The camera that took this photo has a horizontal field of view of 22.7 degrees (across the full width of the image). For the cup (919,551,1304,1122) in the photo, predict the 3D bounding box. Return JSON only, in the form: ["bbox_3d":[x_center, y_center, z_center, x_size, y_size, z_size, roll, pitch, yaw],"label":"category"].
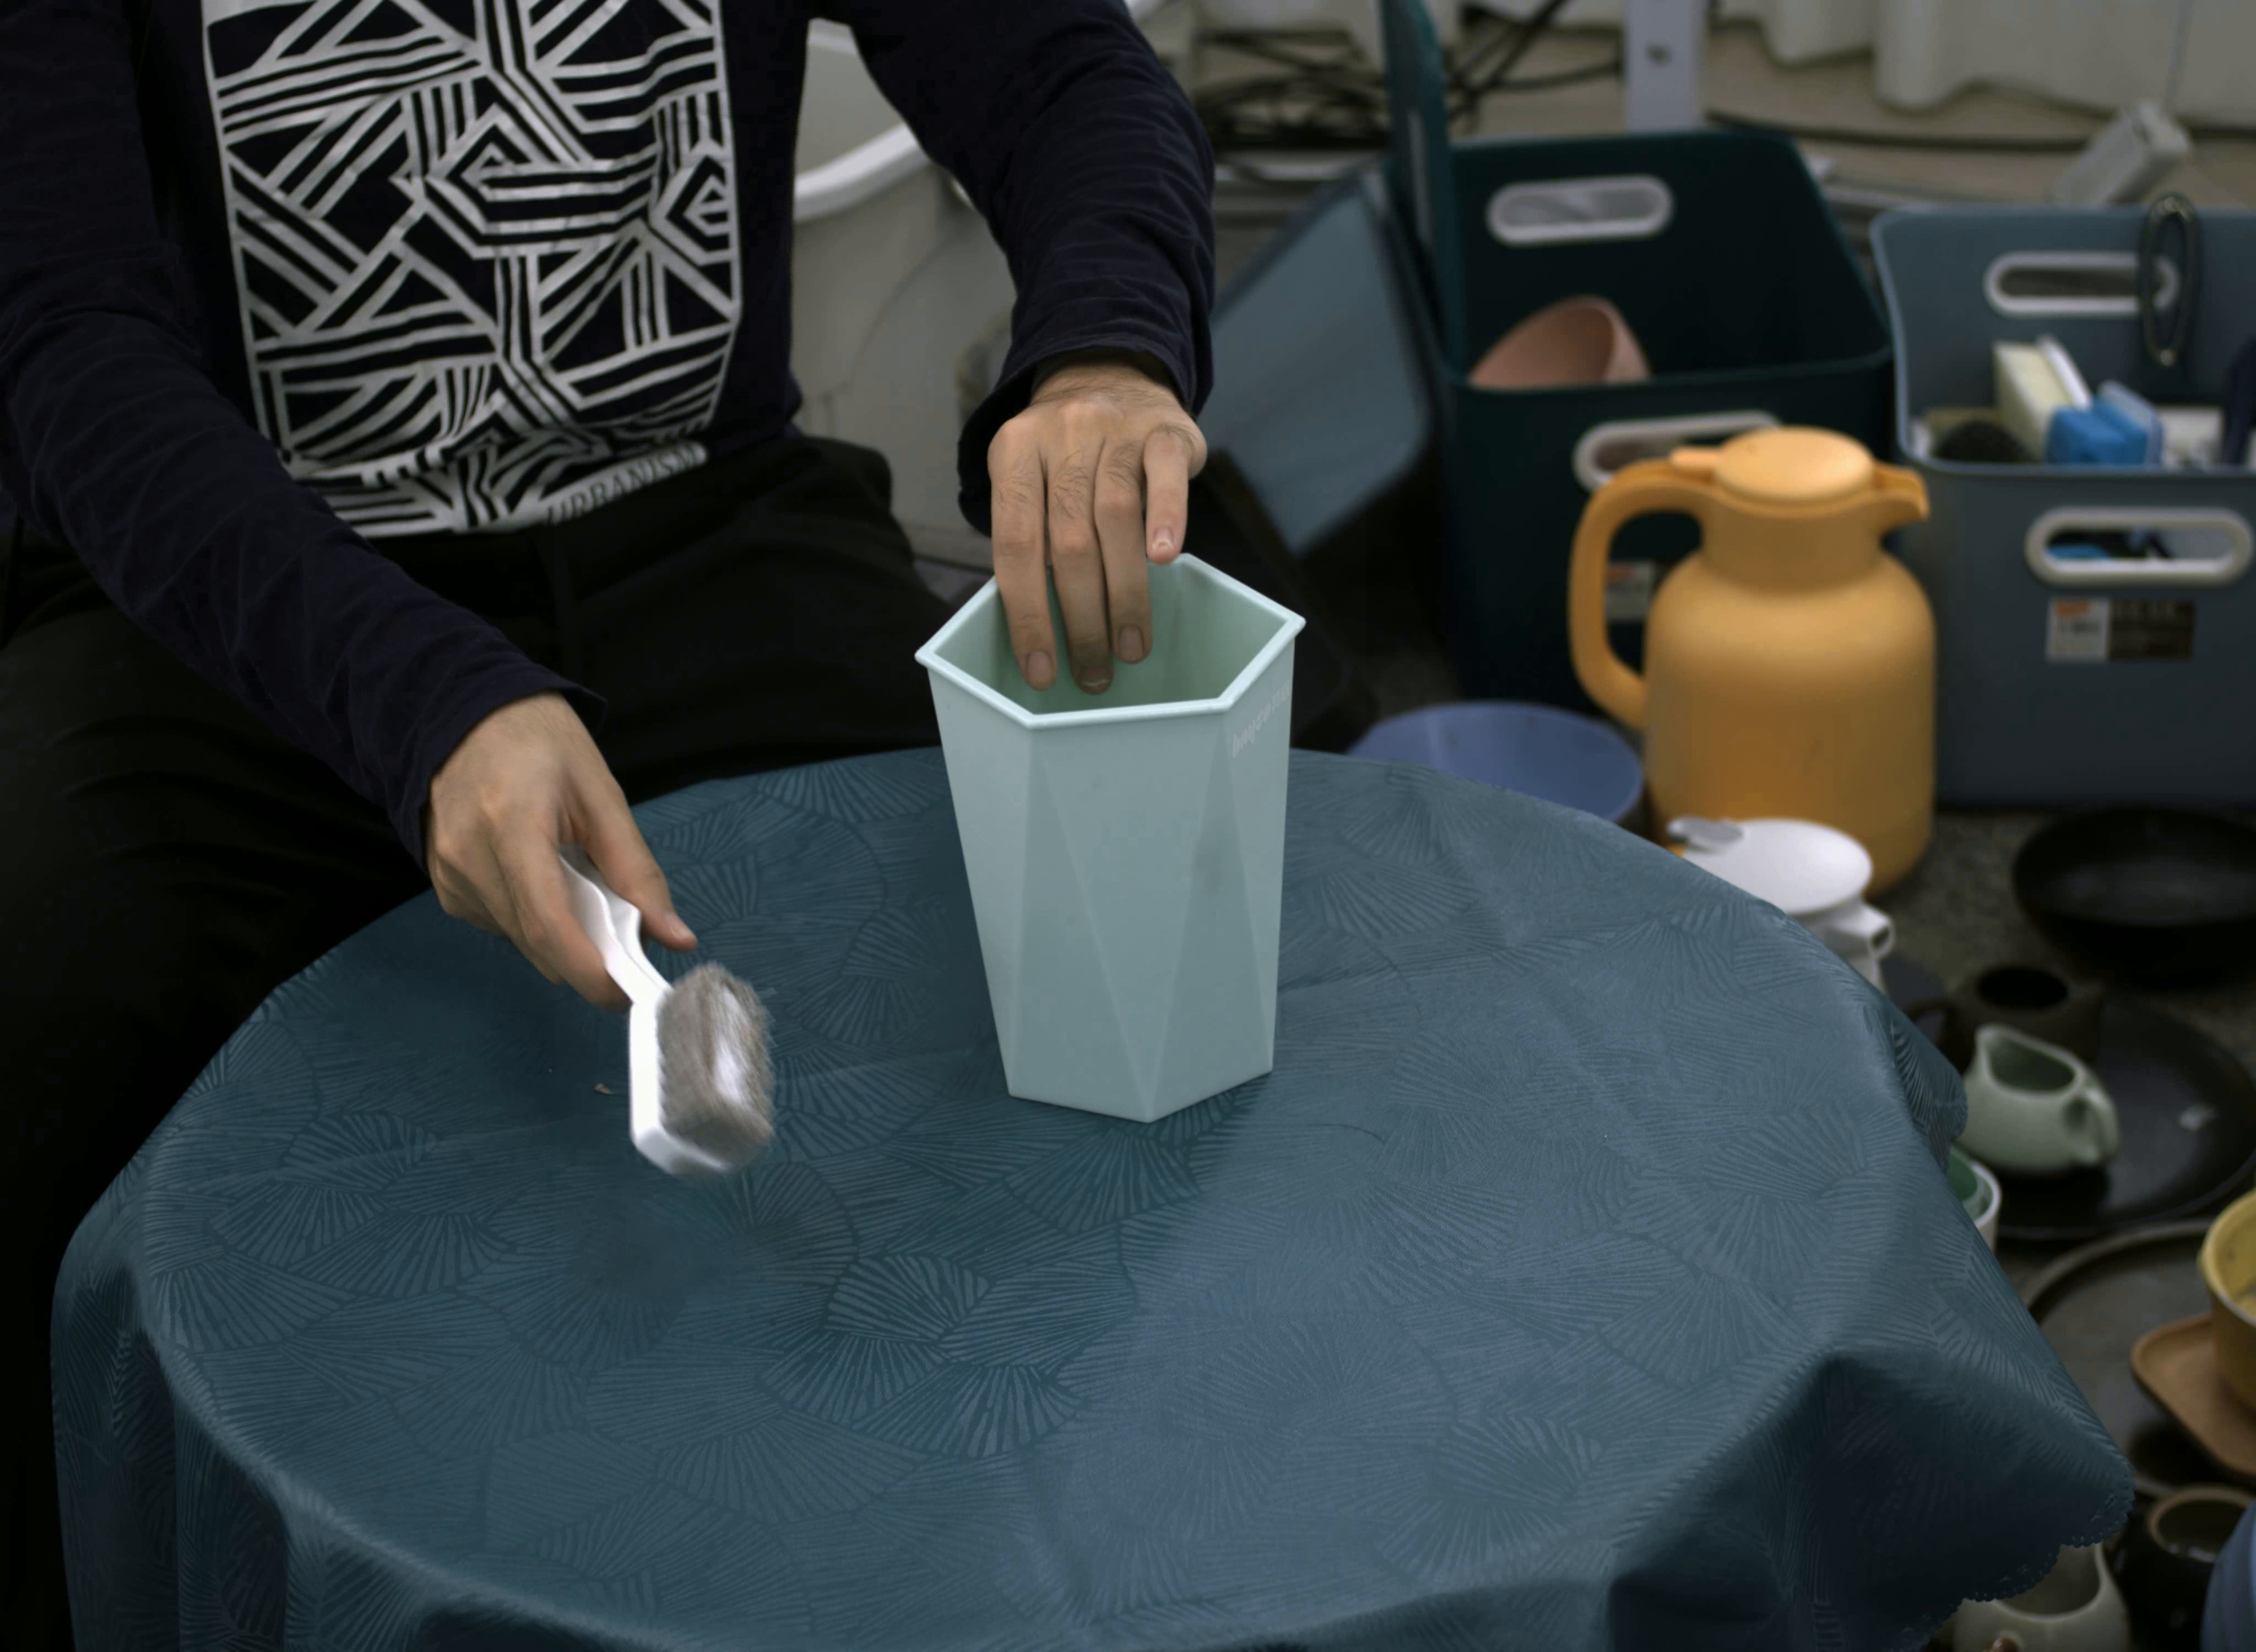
[{"bbox_3d":[0.000,0.005,1.909,0.114,0.161,0.133,7,28,21],"label":"cup"}]

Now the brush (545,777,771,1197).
[{"bbox_3d":[-0.158,0.038,1.878,0.034,0.049,0.247,23,24,-28],"label":"brush"}]
